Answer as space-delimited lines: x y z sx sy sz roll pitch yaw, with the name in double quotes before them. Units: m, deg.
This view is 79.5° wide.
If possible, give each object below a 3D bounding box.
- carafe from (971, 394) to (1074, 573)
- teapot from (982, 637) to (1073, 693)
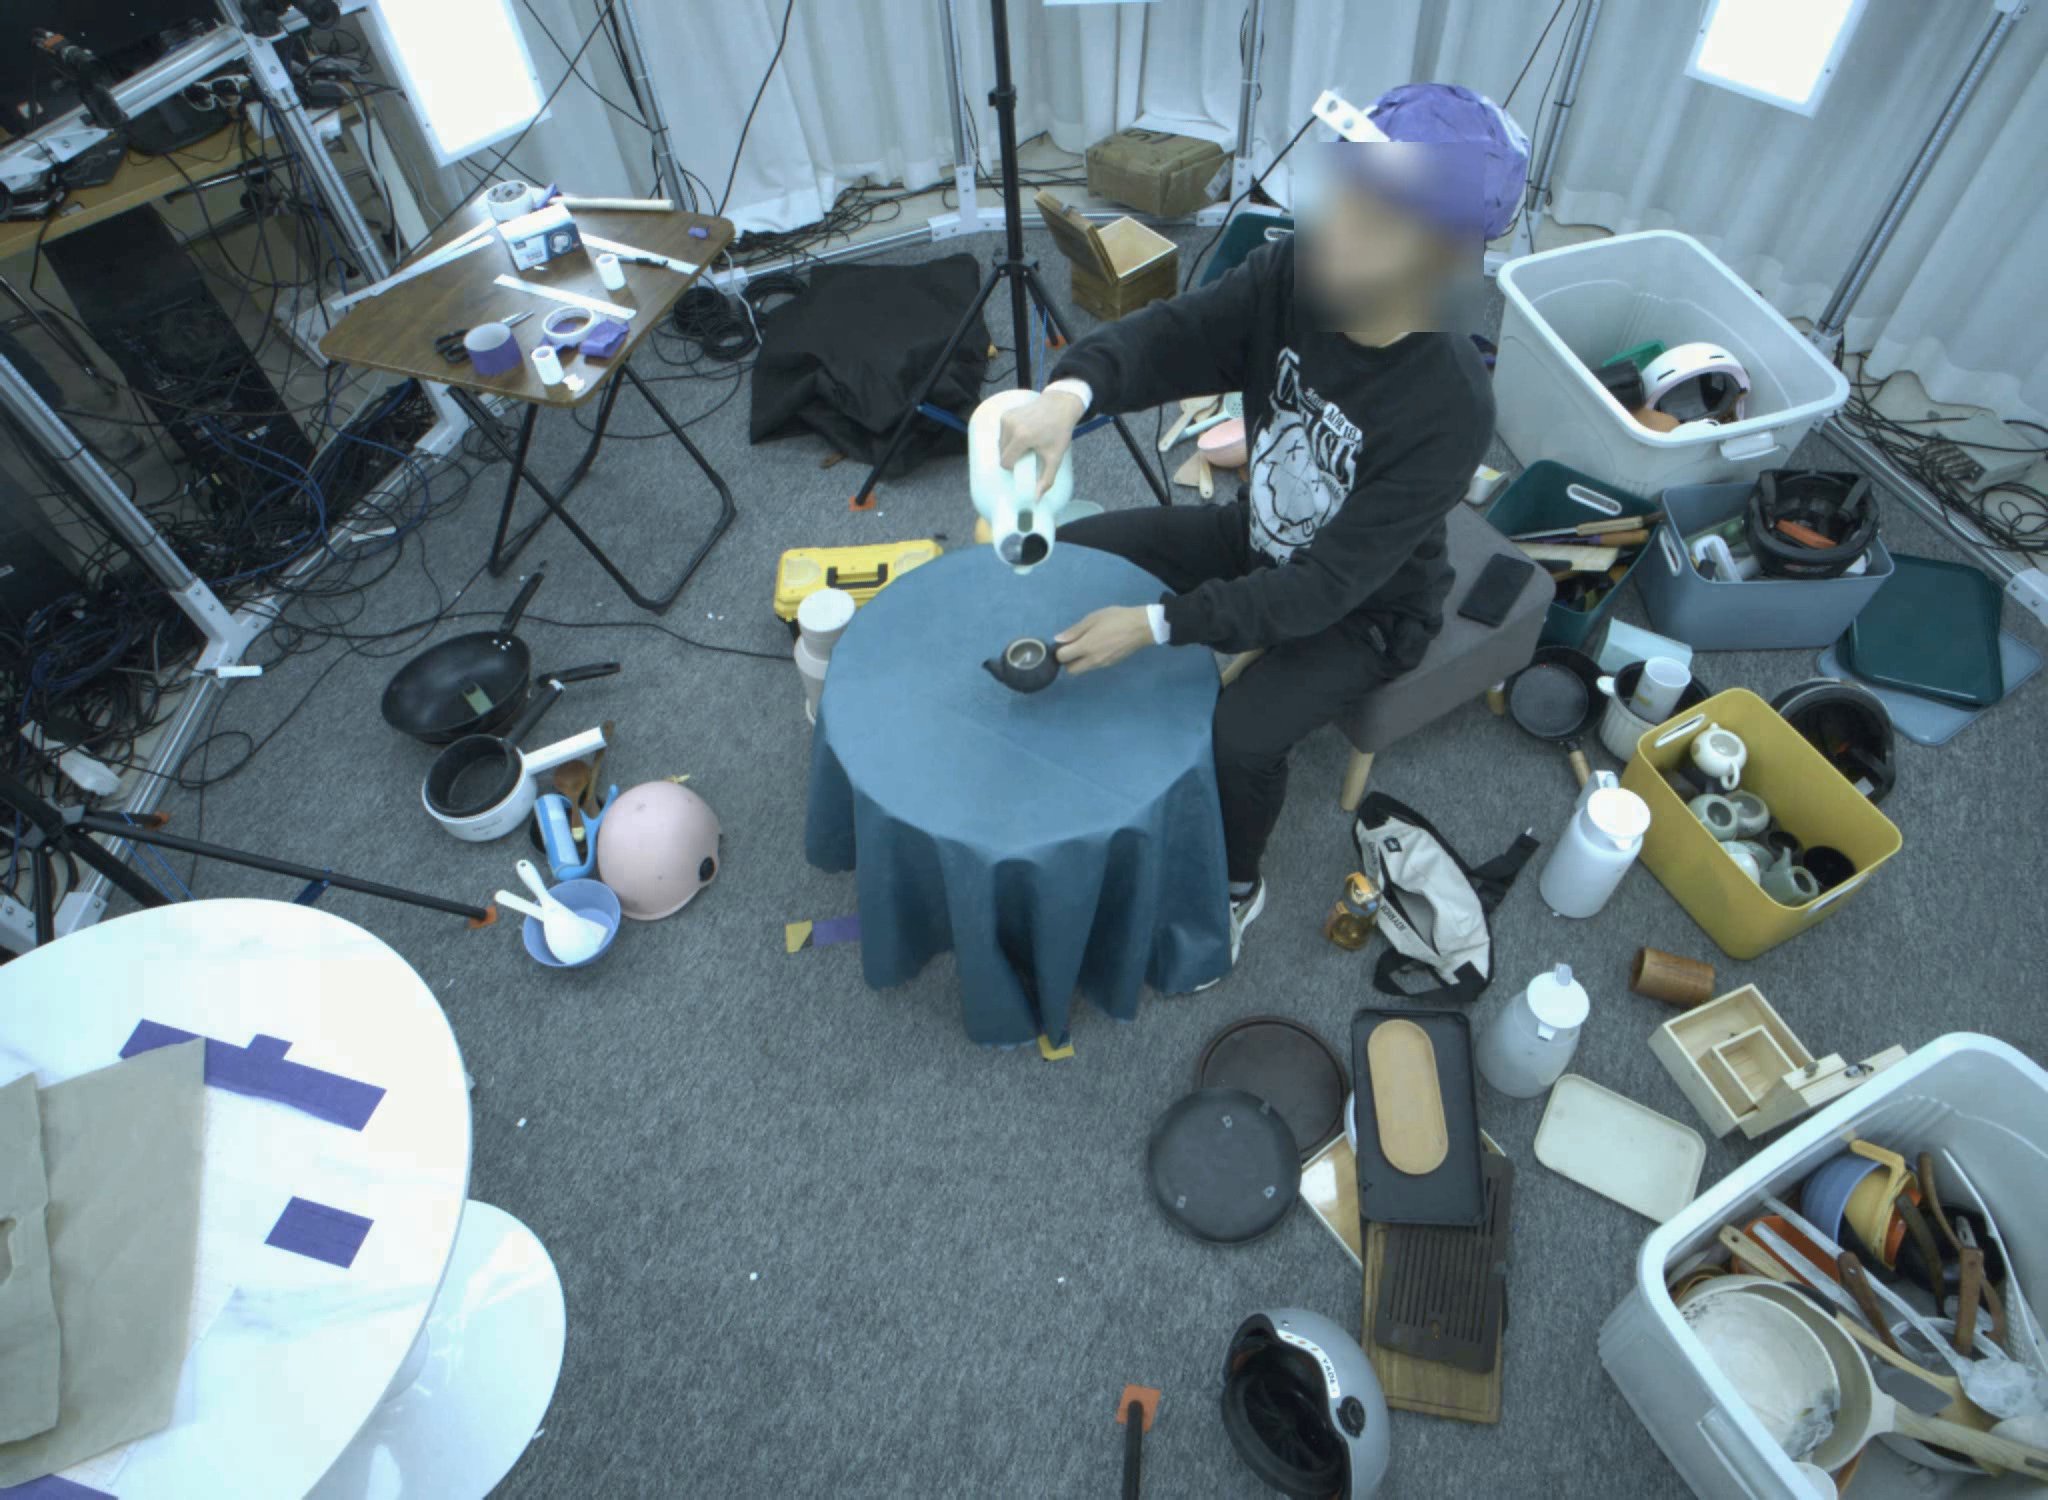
"carafe" -0.003 -0.374 1.655 0.144 0.188 0.254 0 52 -1
"teapot" 0.007 -0.125 1.785 0.133 0.054 0.089 -15 56 -1
